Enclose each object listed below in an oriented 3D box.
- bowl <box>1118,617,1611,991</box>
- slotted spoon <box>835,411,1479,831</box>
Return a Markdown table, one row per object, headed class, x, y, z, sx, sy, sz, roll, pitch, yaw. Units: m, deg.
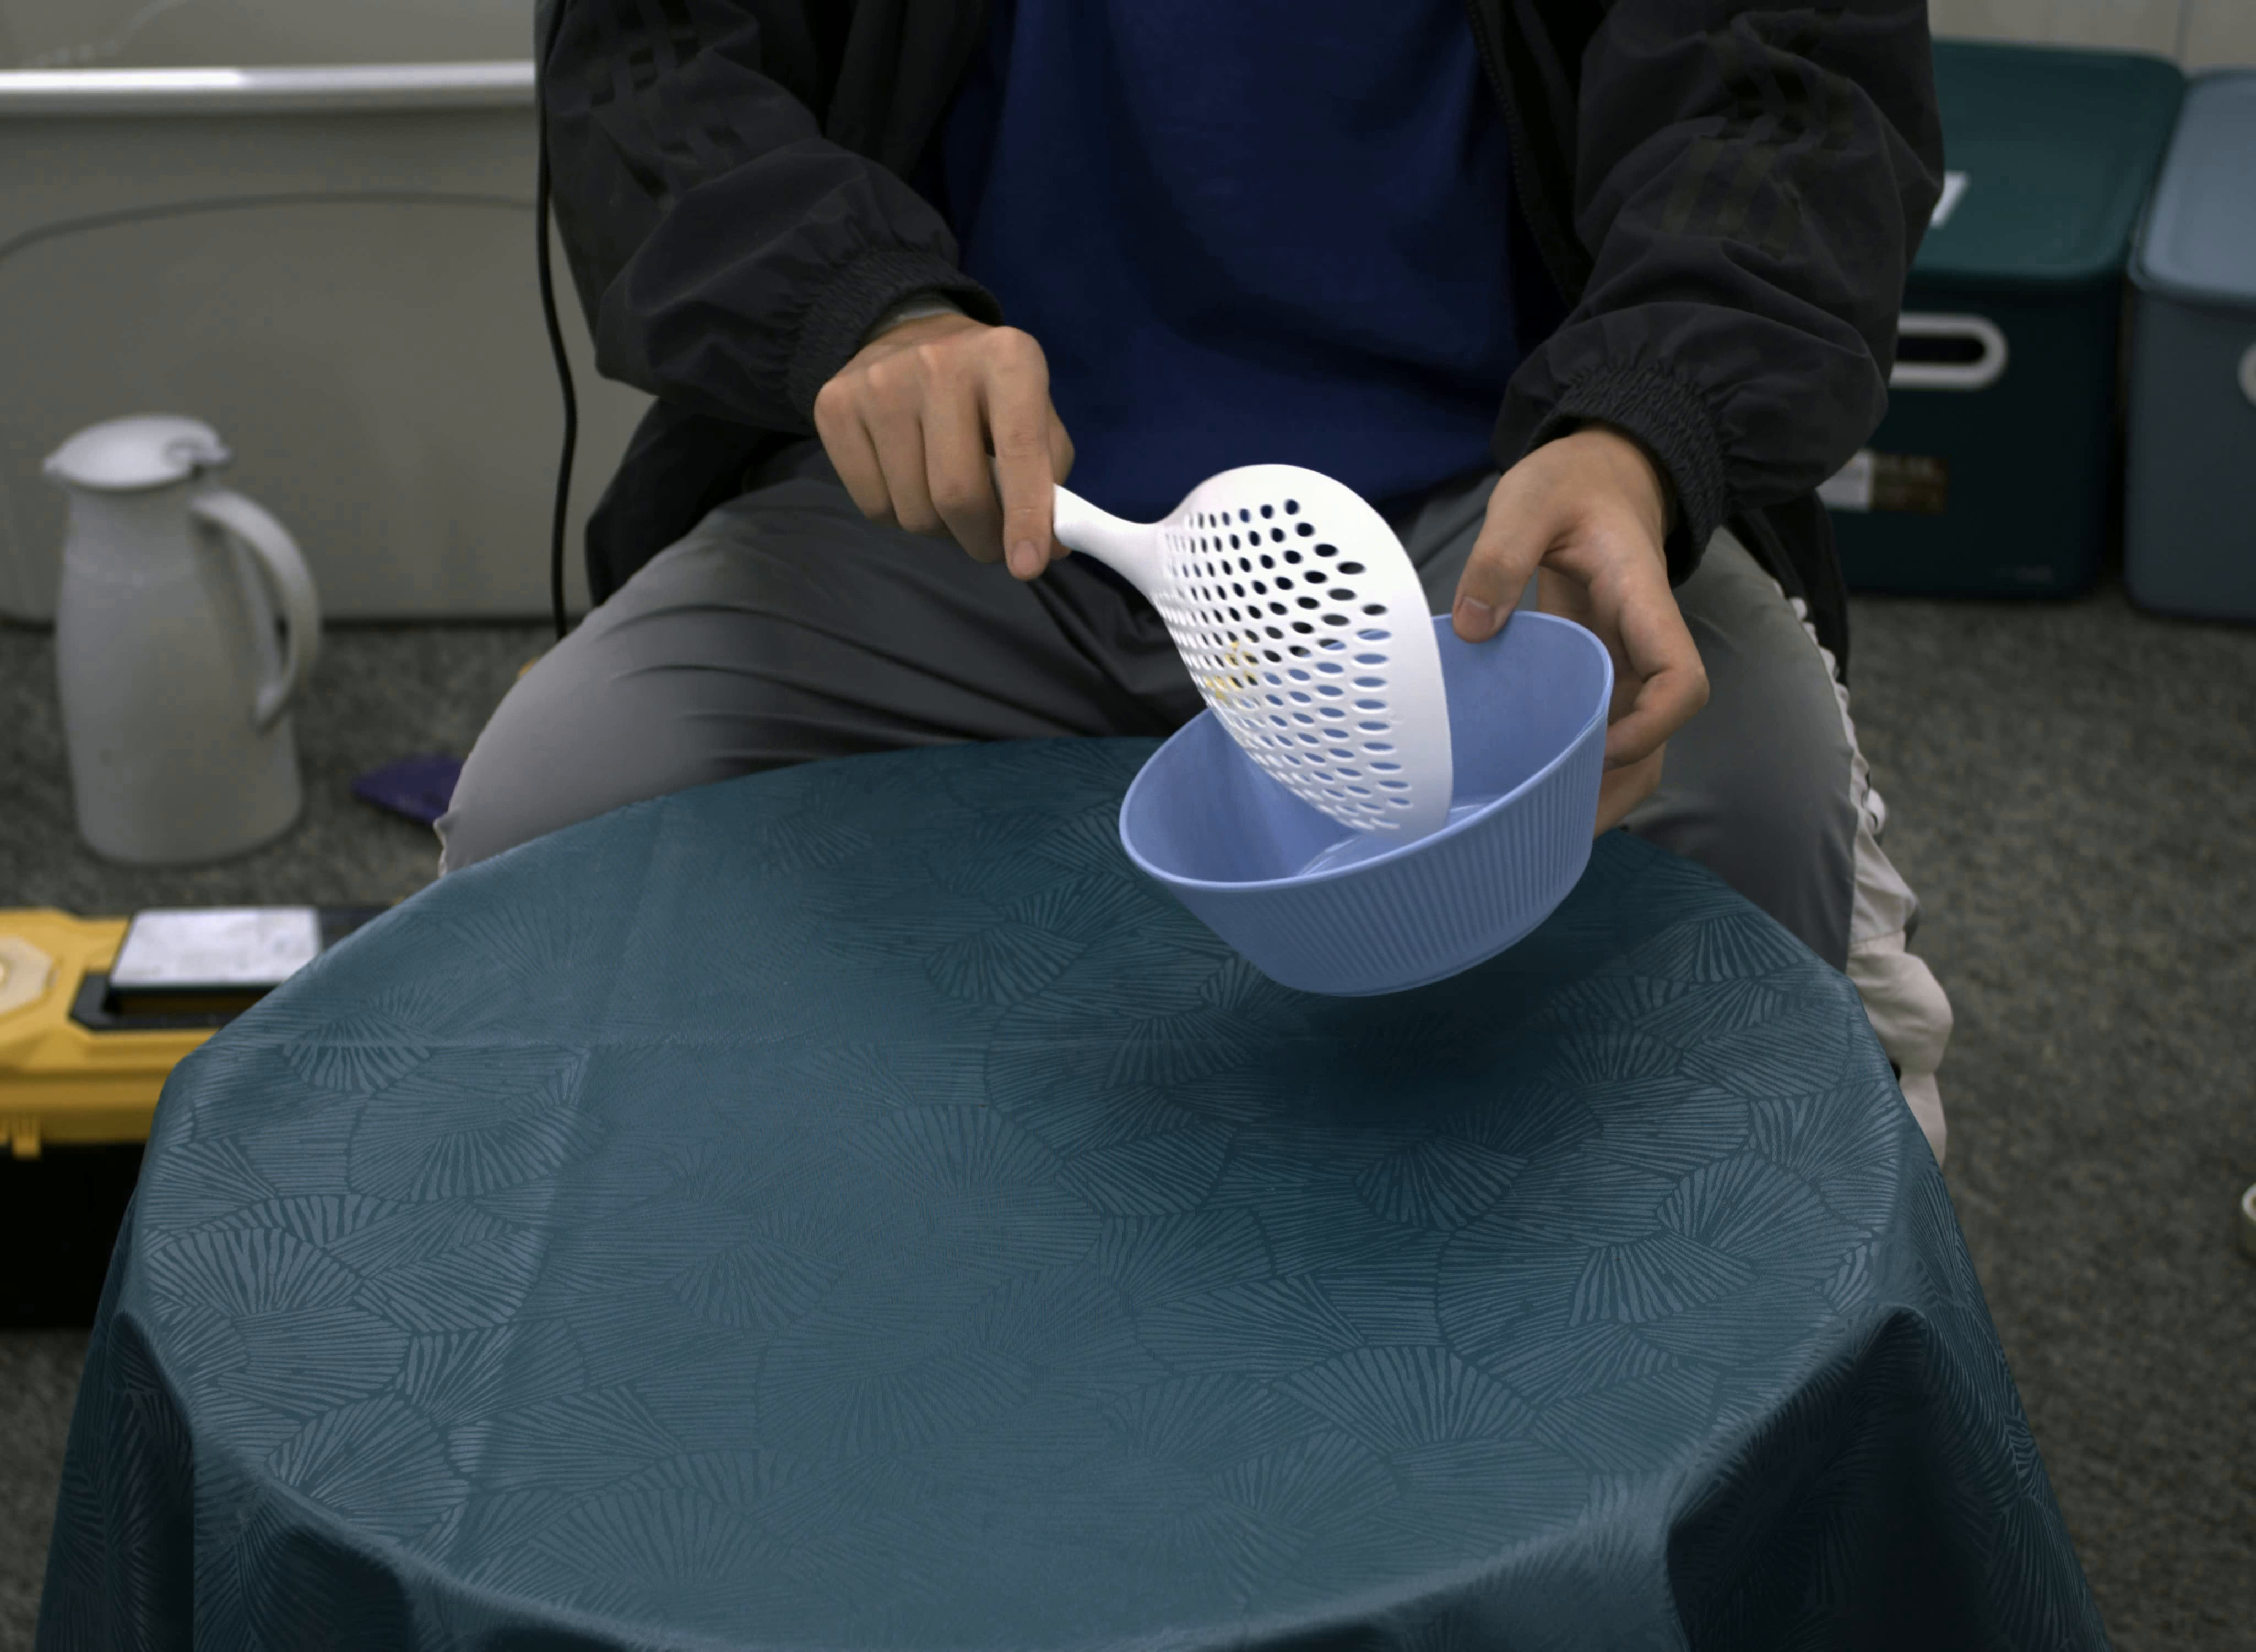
| class | x | y | z | sx | sy | sz | roll | pitch | yaw |
| --- | --- | --- | --- | --- | --- | --- | --- | --- | --- |
| bowl | 0.089 | -0.001 | 1.903 | 0.175 | 0.070 | 0.178 | -19 | 22 | 8 |
| slotted spoon | 0.003 | -0.089 | 1.964 | 0.050 | 0.135 | 0.349 | -23 | 31 | -24 |
